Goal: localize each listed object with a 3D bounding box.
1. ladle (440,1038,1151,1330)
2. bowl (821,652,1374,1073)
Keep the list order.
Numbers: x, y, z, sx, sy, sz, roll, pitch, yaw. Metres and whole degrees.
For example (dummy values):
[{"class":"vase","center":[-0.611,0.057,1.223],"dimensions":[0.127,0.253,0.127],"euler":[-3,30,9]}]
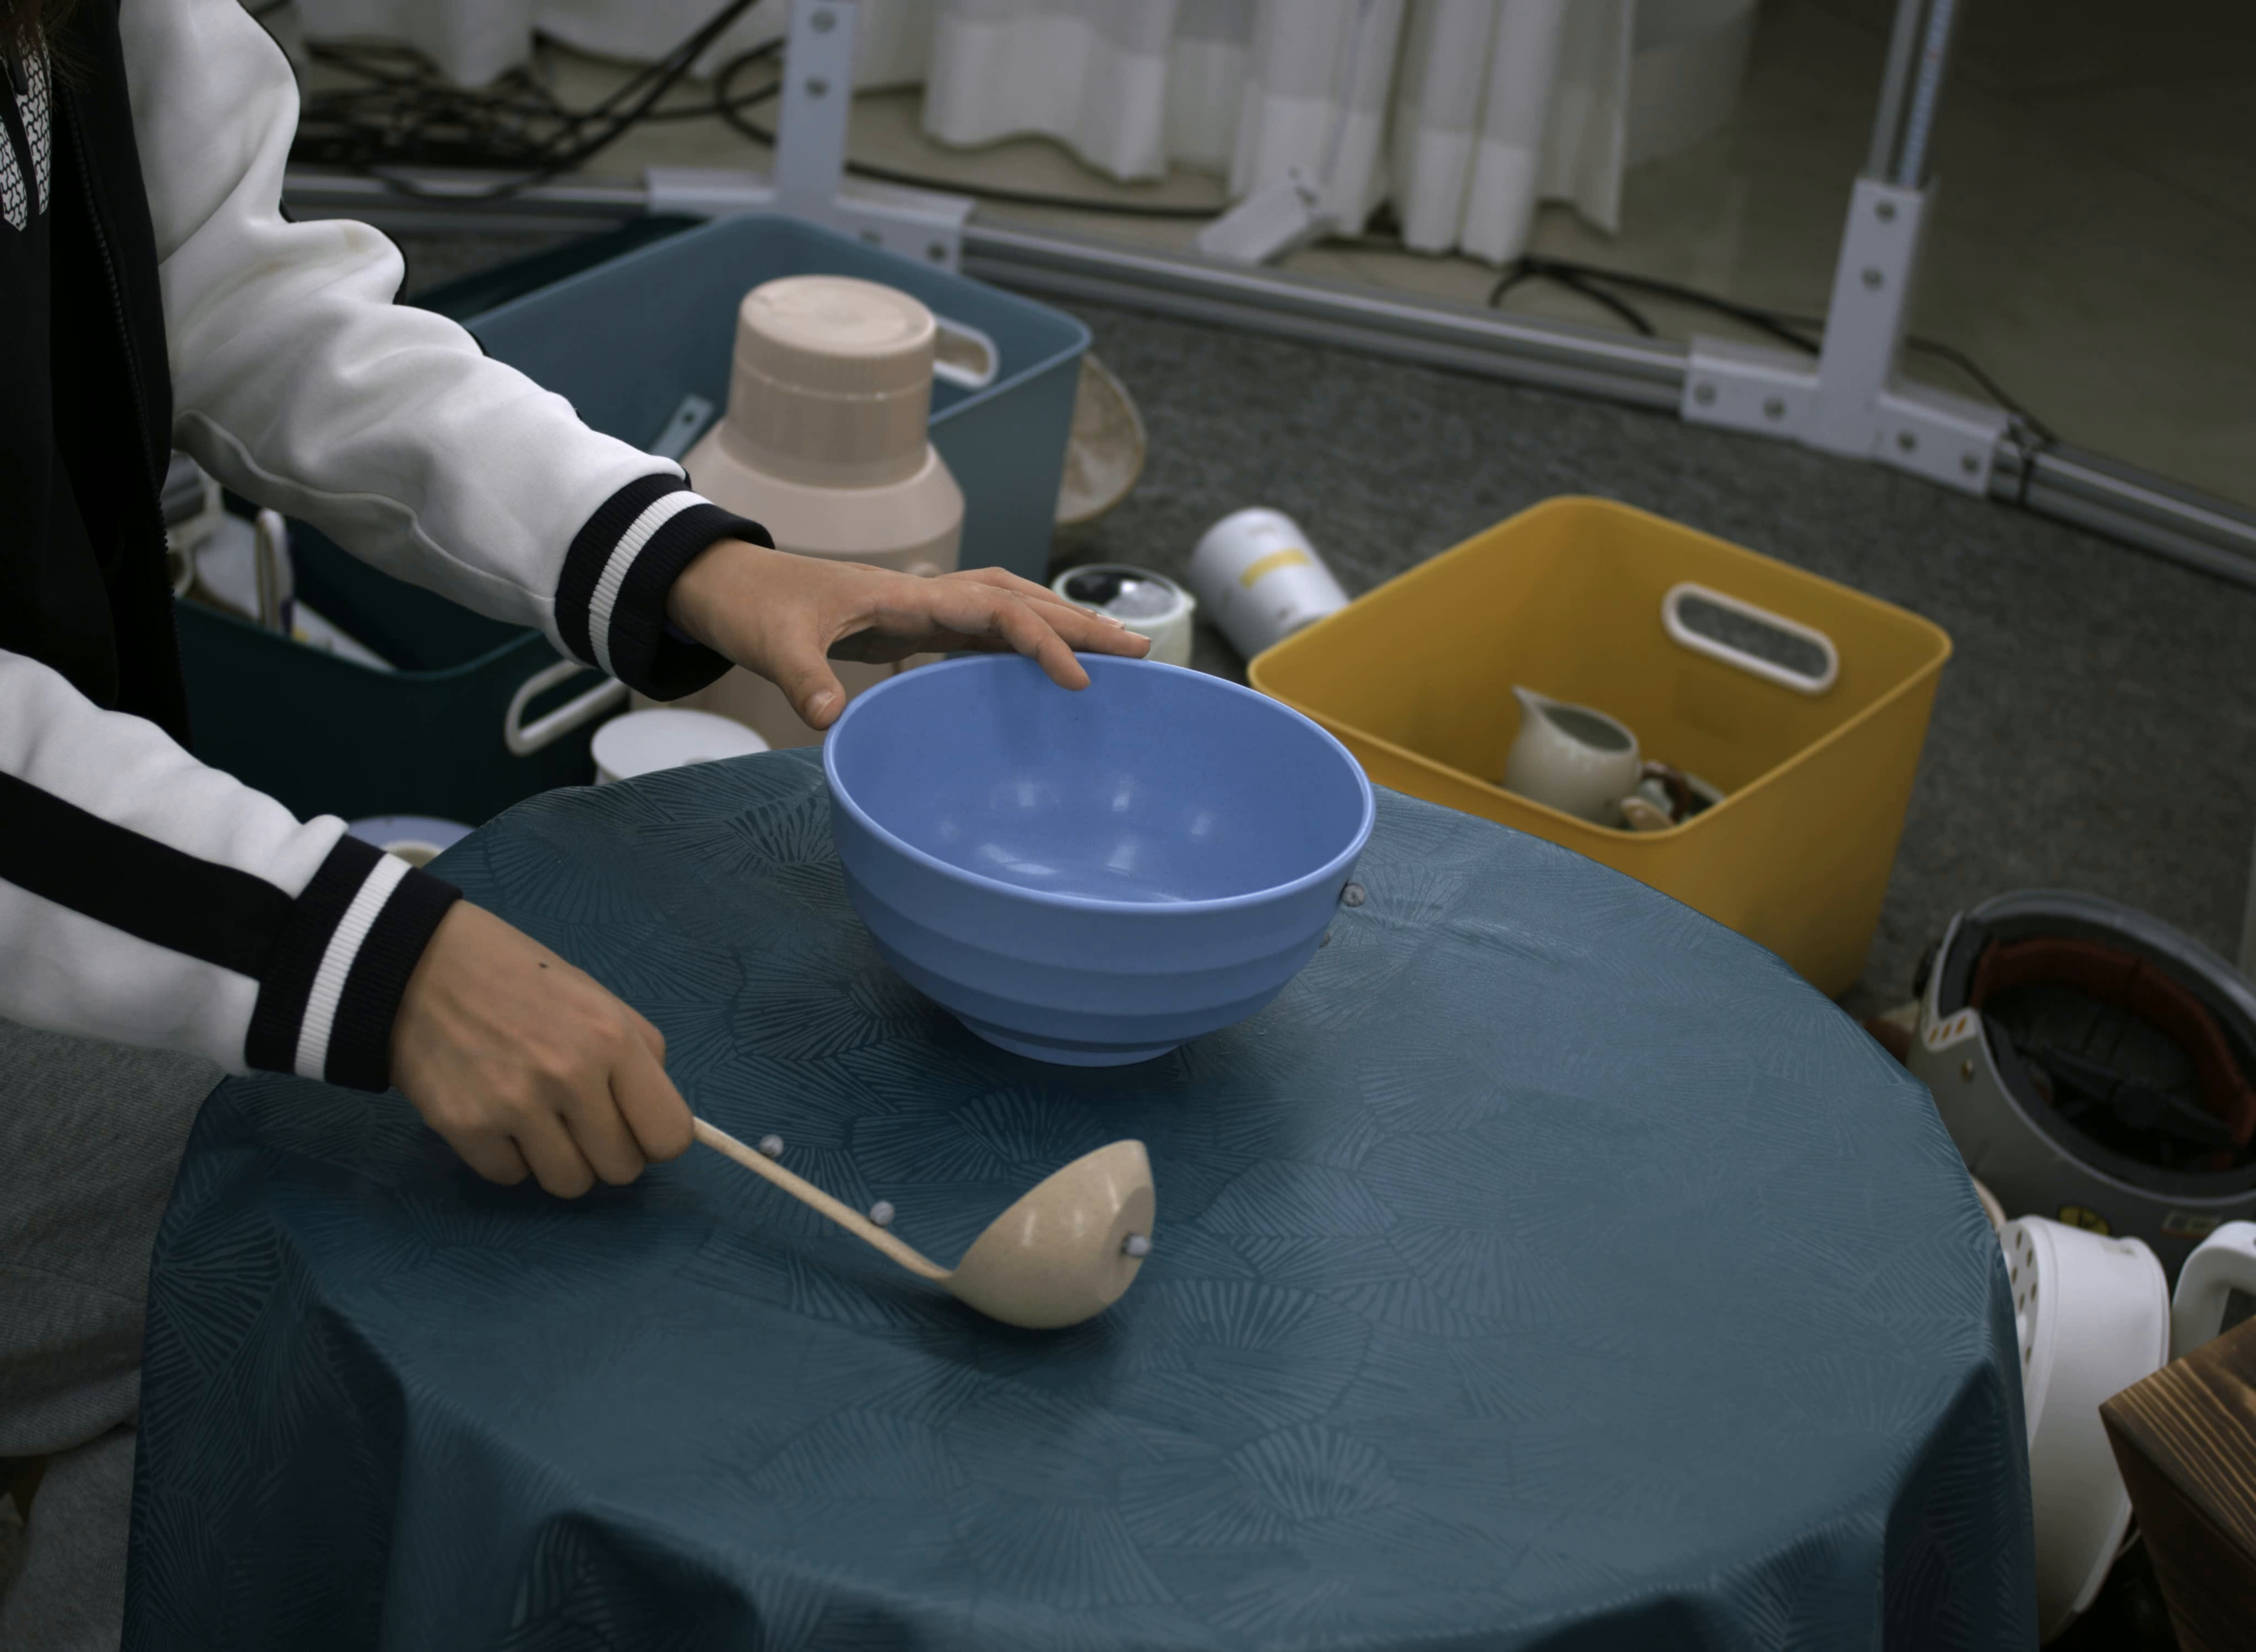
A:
[{"class":"ladle","center":[-0.109,0.090,1.747],"dimensions":[0.255,0.073,0.071],"euler":[24,2,22]},{"class":"bowl","center":[-0.015,0.025,1.895],"dimensions":[0.196,0.095,0.198],"euler":[4,28,-3]}]
